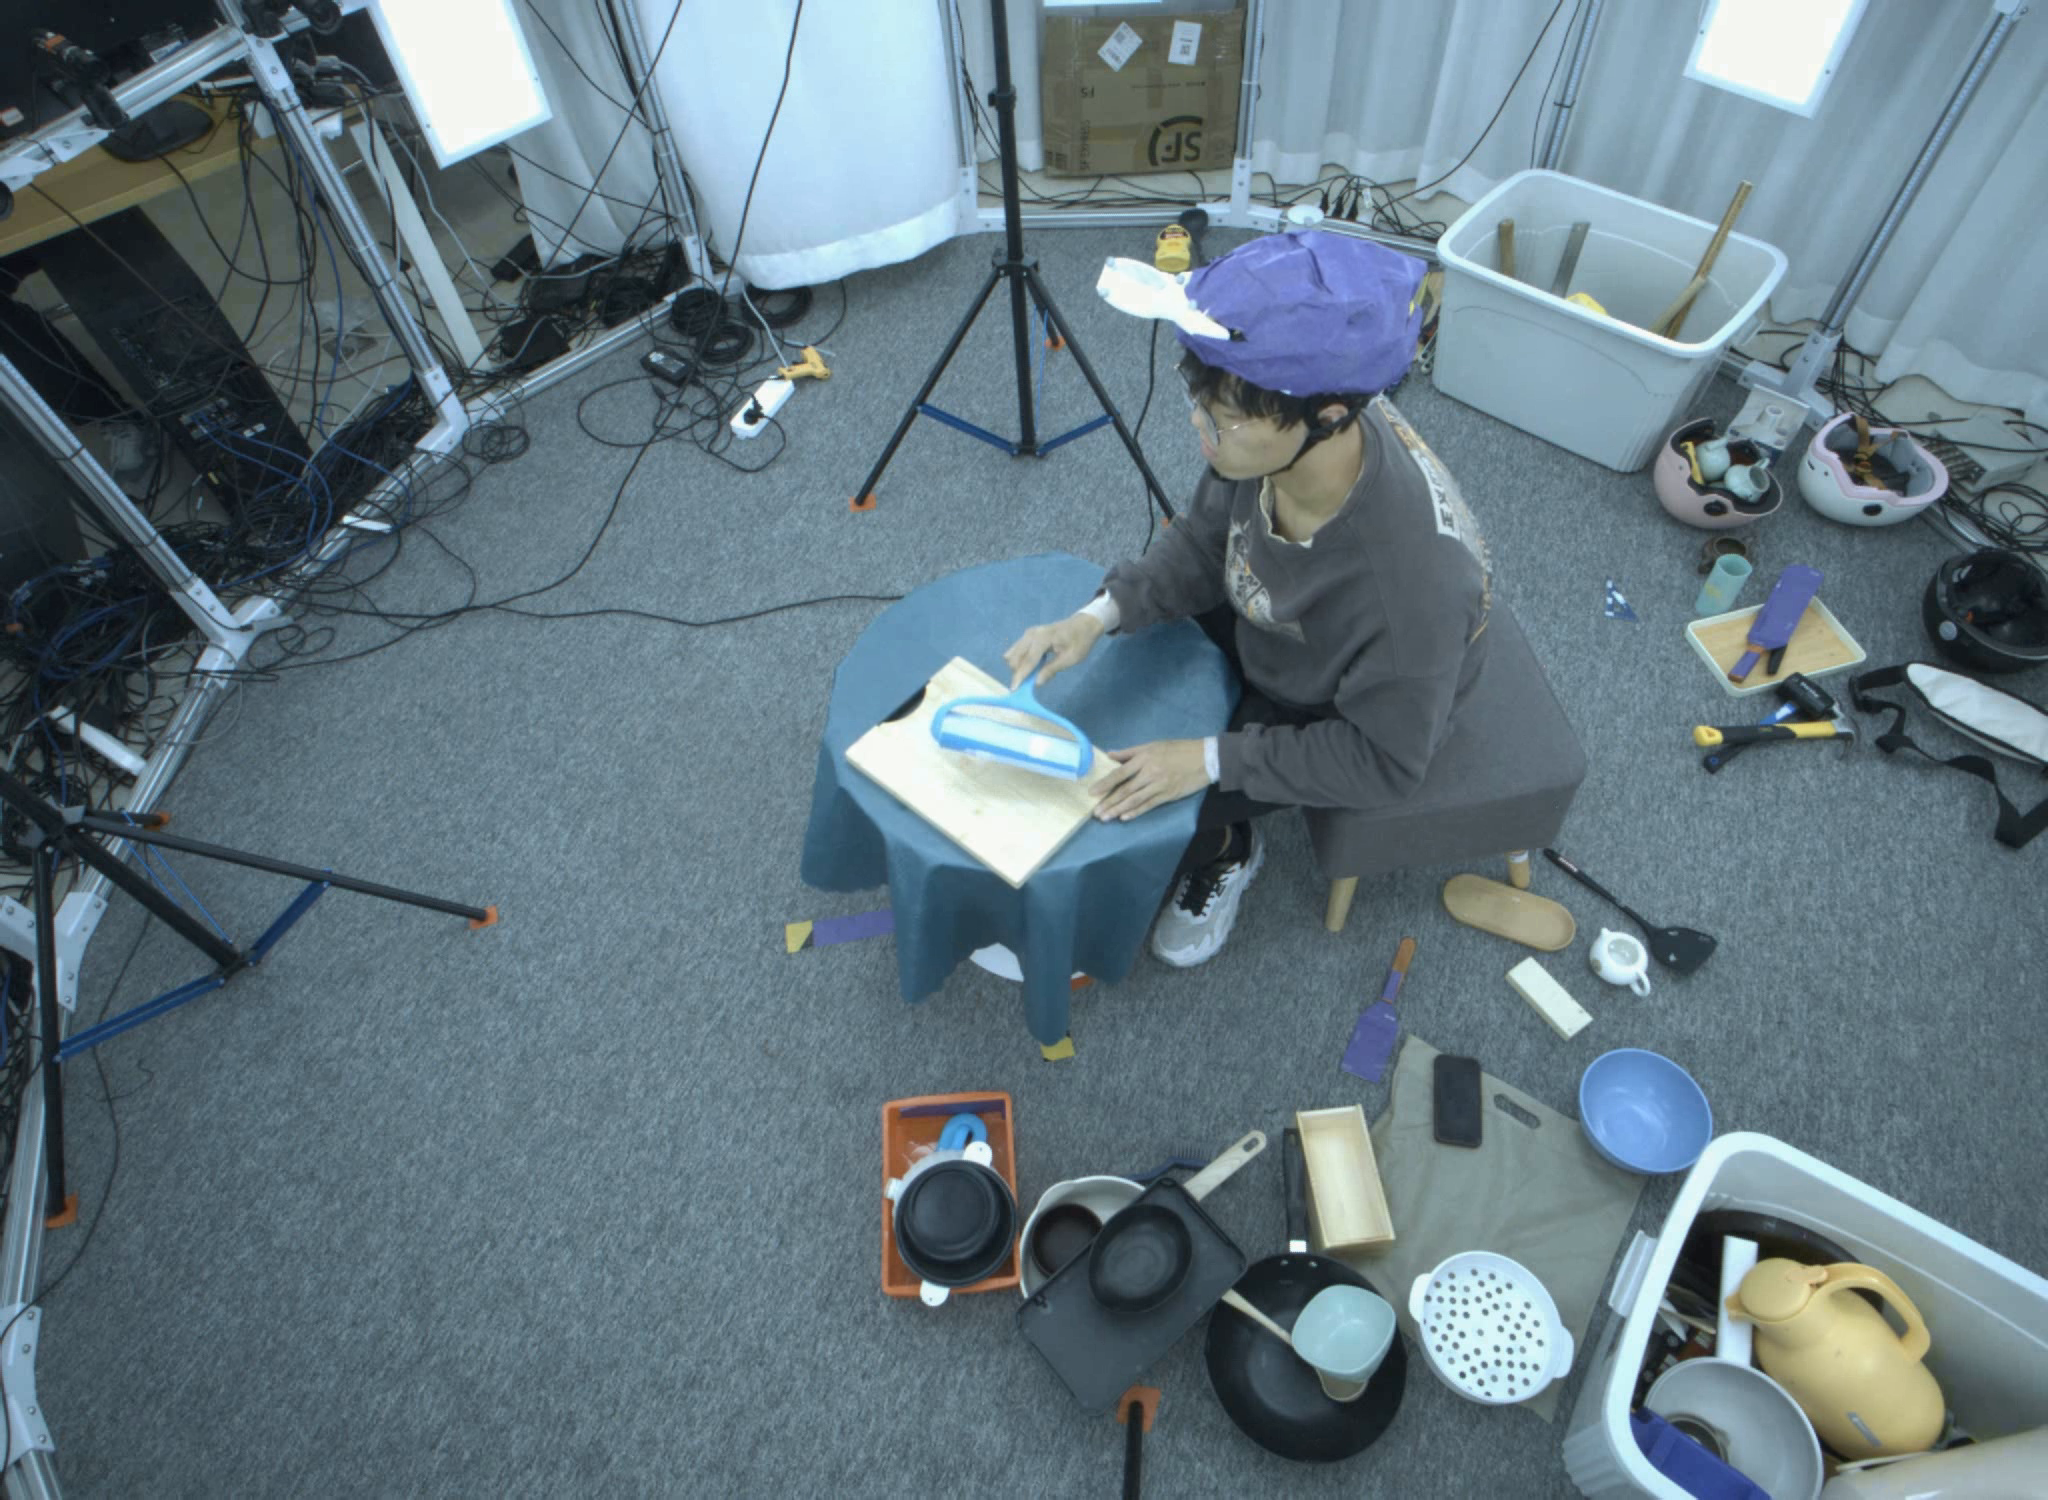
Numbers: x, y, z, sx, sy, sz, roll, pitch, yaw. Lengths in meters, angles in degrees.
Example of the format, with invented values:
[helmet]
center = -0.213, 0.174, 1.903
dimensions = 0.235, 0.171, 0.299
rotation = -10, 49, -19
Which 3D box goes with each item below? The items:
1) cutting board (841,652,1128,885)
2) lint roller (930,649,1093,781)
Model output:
[cutting board]
center = -0.059, 0.017, 1.765
dimensions = 0.342, 0.024, 0.252
rotation = 34, 62, 23
[lint roller]
center = -0.005, -0.064, 1.702
dimensions = 0.228, 0.068, 0.180
rotation = 12, 79, 2
